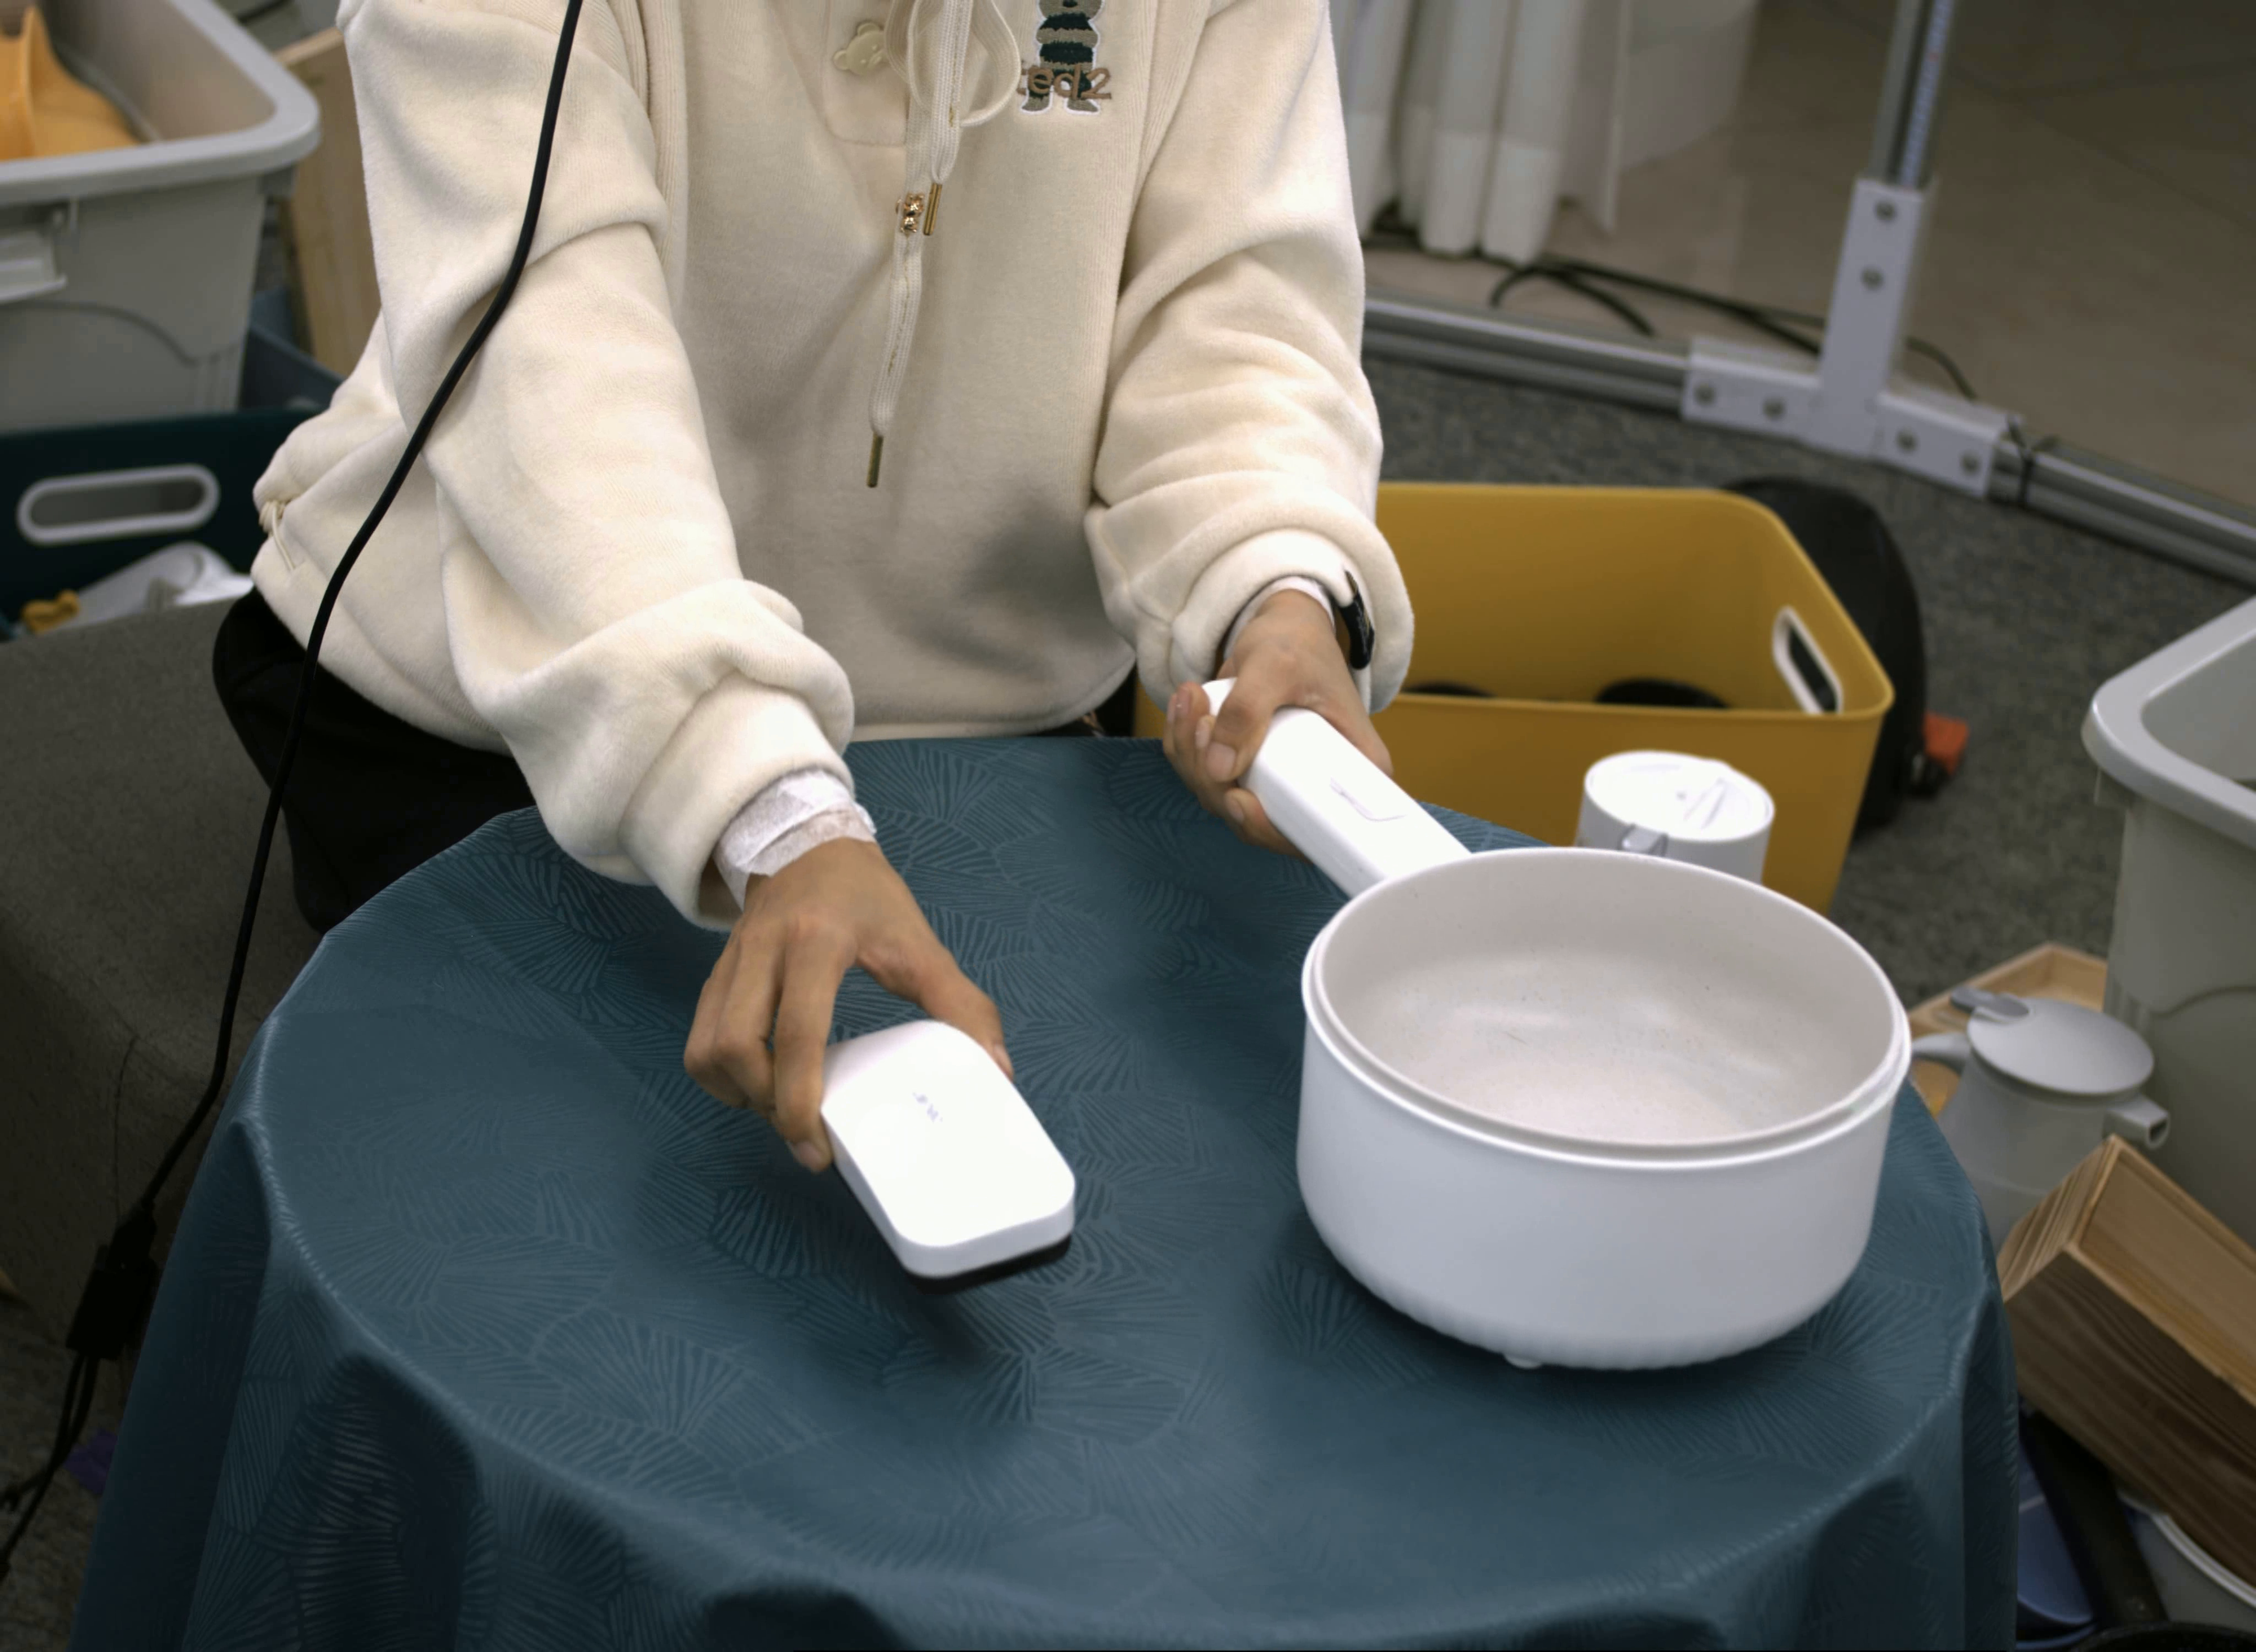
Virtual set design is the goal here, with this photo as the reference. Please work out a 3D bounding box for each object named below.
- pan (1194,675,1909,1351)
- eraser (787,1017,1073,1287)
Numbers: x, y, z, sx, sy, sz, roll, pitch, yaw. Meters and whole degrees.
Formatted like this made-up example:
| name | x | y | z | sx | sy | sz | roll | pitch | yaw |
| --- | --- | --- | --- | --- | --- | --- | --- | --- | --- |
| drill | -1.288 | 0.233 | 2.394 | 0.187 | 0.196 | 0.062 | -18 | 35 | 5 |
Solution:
| name | x | y | z | sx | sy | sz | roll | pitch | yaw |
| --- | --- | --- | --- | --- | --- | --- | --- | --- | --- |
| pan | 0.117 | 0.061 | 1.828 | 0.200 | 0.102 | 0.358 | -8 | 28 | -26 |
| eraser | -0.063 | 0.101 | 1.719 | 0.063 | 0.034 | 0.132 | -14 | 30 | -16 |
